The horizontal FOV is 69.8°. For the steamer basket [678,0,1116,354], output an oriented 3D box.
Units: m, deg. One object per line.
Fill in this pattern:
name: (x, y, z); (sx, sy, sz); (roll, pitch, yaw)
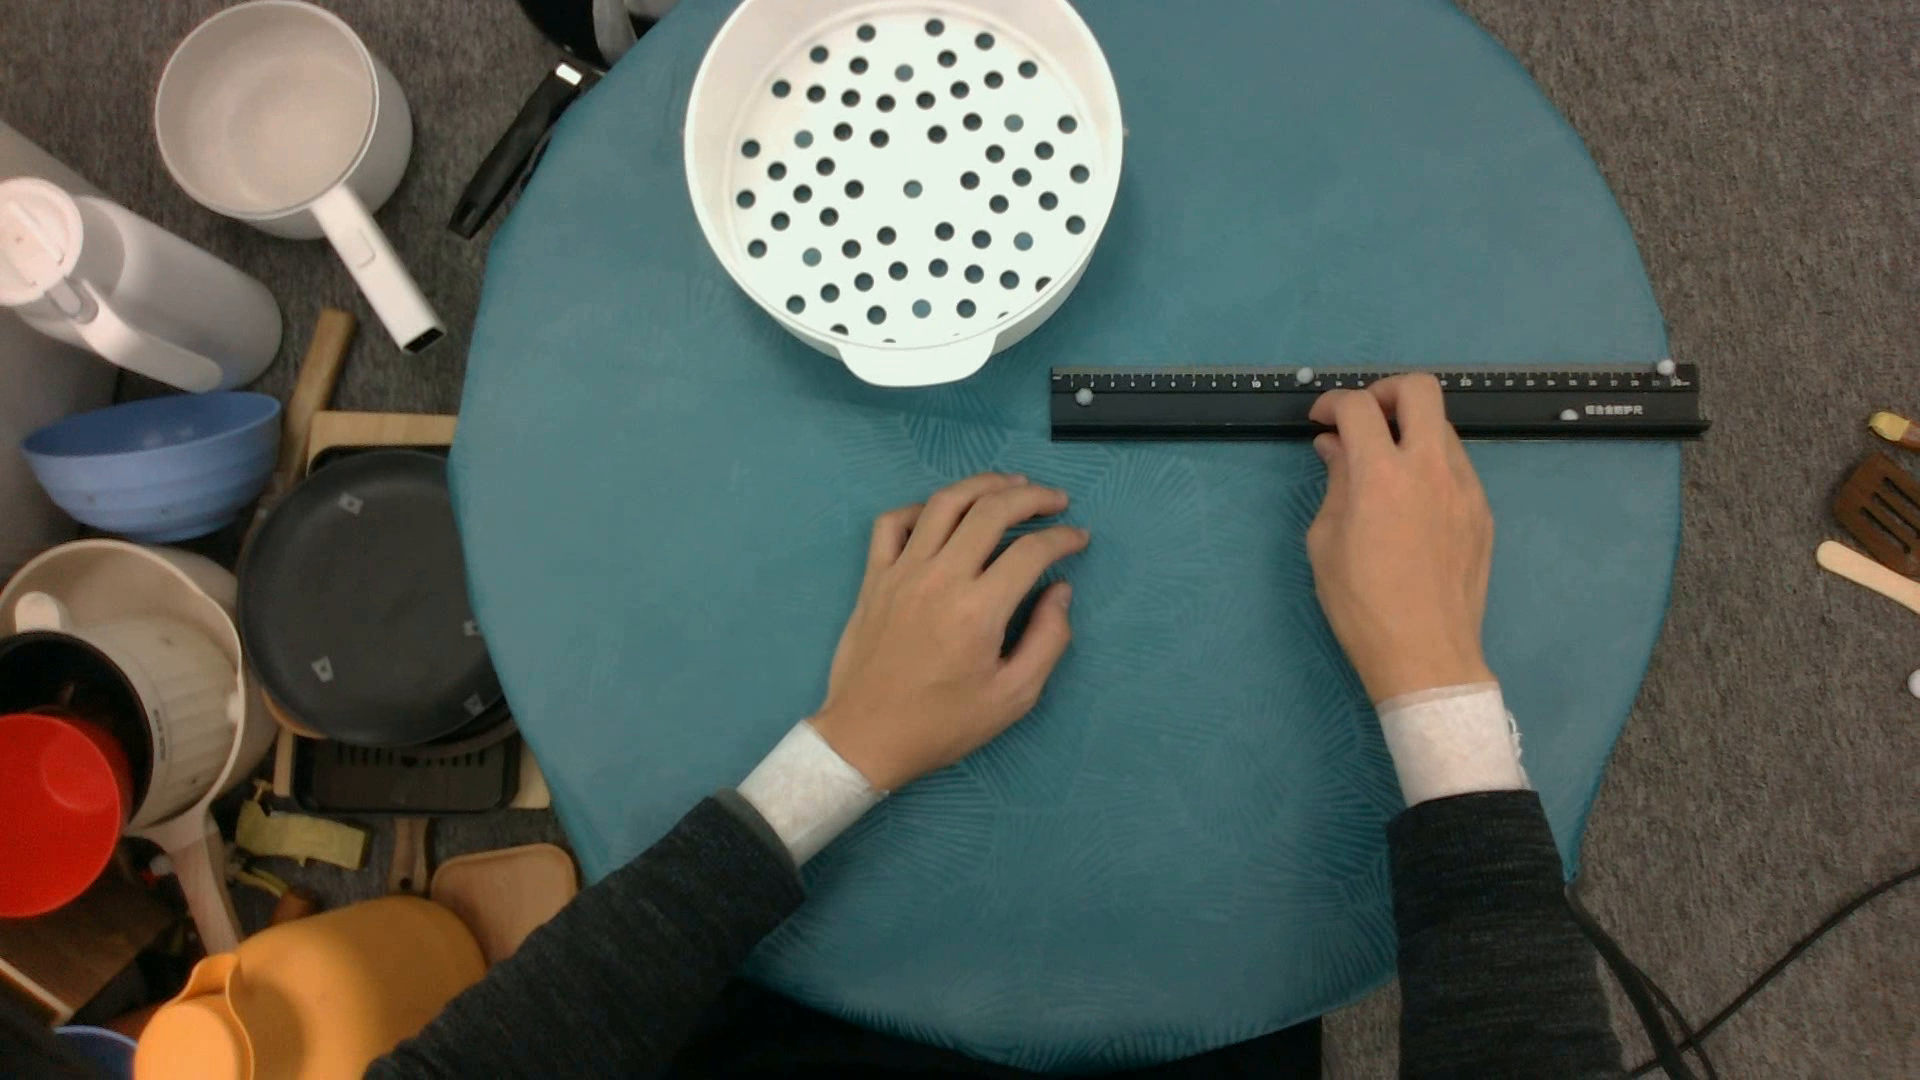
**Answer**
steamer basket: (-0.029, -0.194, 0.658); (0.202, 0.069, 0.231); (-4, 81, 1)

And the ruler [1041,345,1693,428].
ruler: (0.196, -0.076, 0.667); (0.312, 0.017, 0.039); (1, 81, 1)
